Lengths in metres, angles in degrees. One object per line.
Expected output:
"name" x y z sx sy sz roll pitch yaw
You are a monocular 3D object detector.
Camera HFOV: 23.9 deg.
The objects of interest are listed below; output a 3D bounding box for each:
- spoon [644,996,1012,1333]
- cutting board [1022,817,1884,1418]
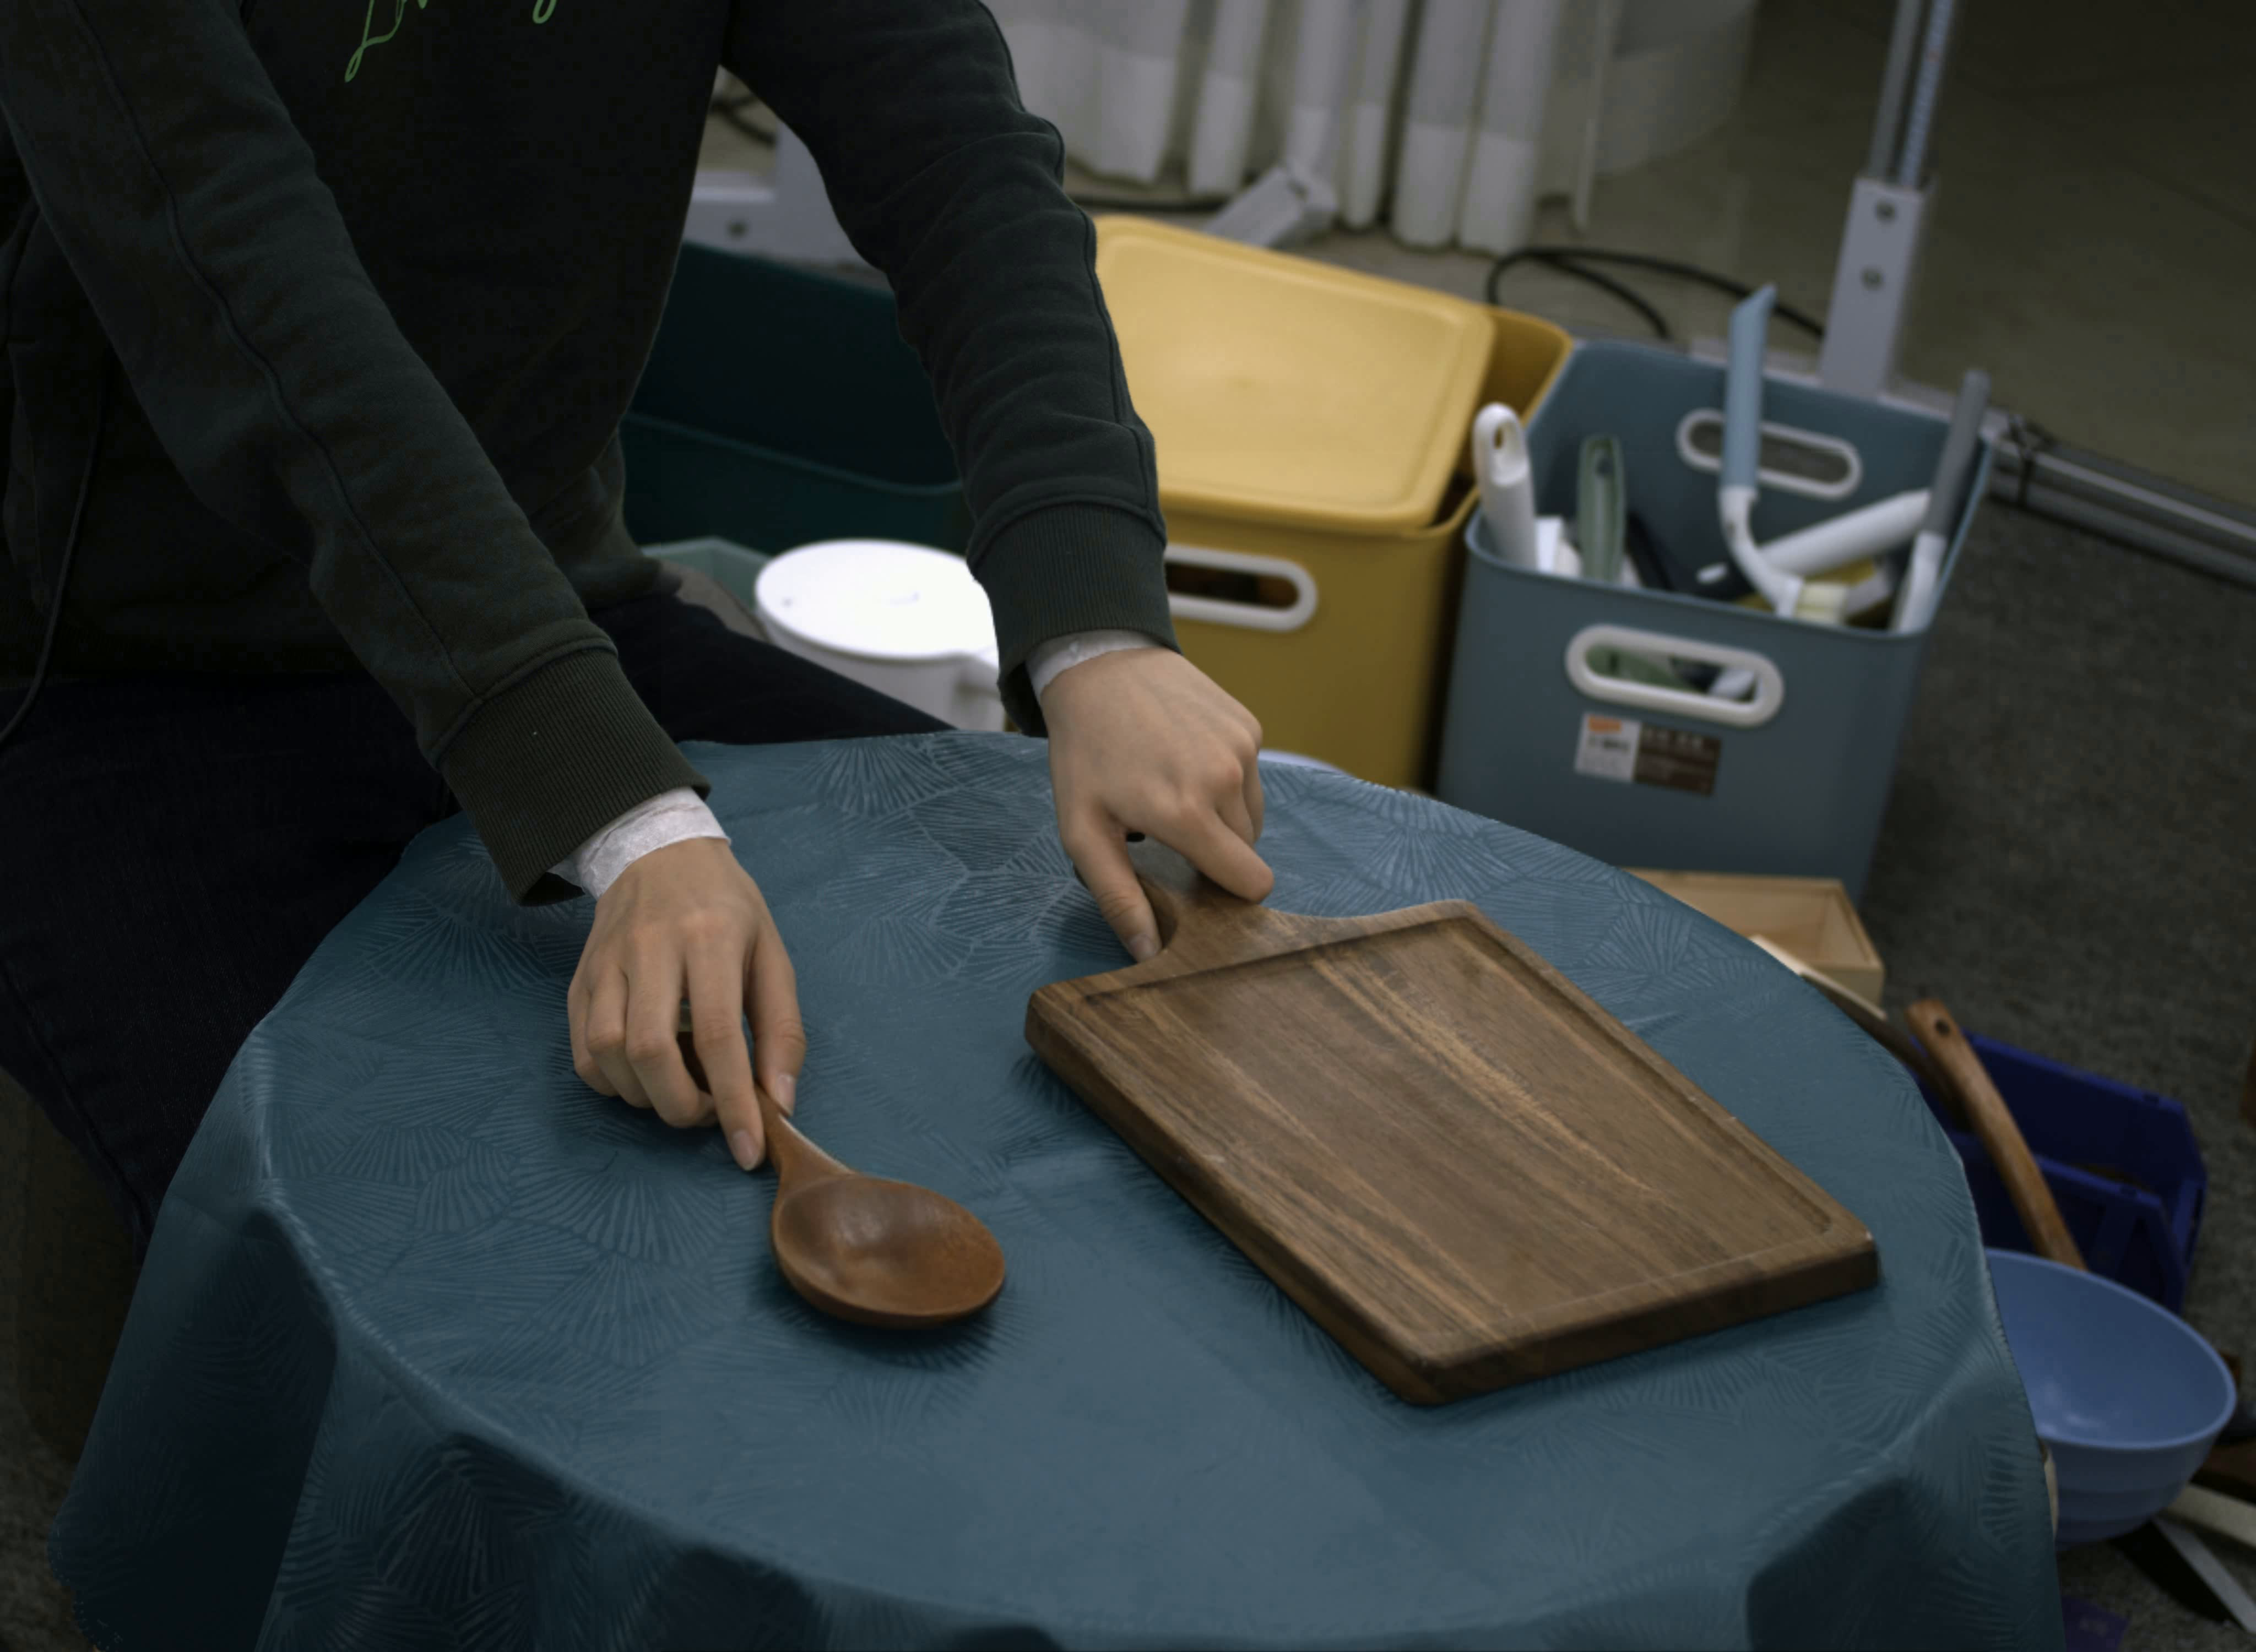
"spoon" -0.109 0.113 1.777 0.075 0.017 0.218 -11 32 -27
"cutting board" 0.083 0.085 1.865 0.200 0.023 0.355 -12 34 -30
